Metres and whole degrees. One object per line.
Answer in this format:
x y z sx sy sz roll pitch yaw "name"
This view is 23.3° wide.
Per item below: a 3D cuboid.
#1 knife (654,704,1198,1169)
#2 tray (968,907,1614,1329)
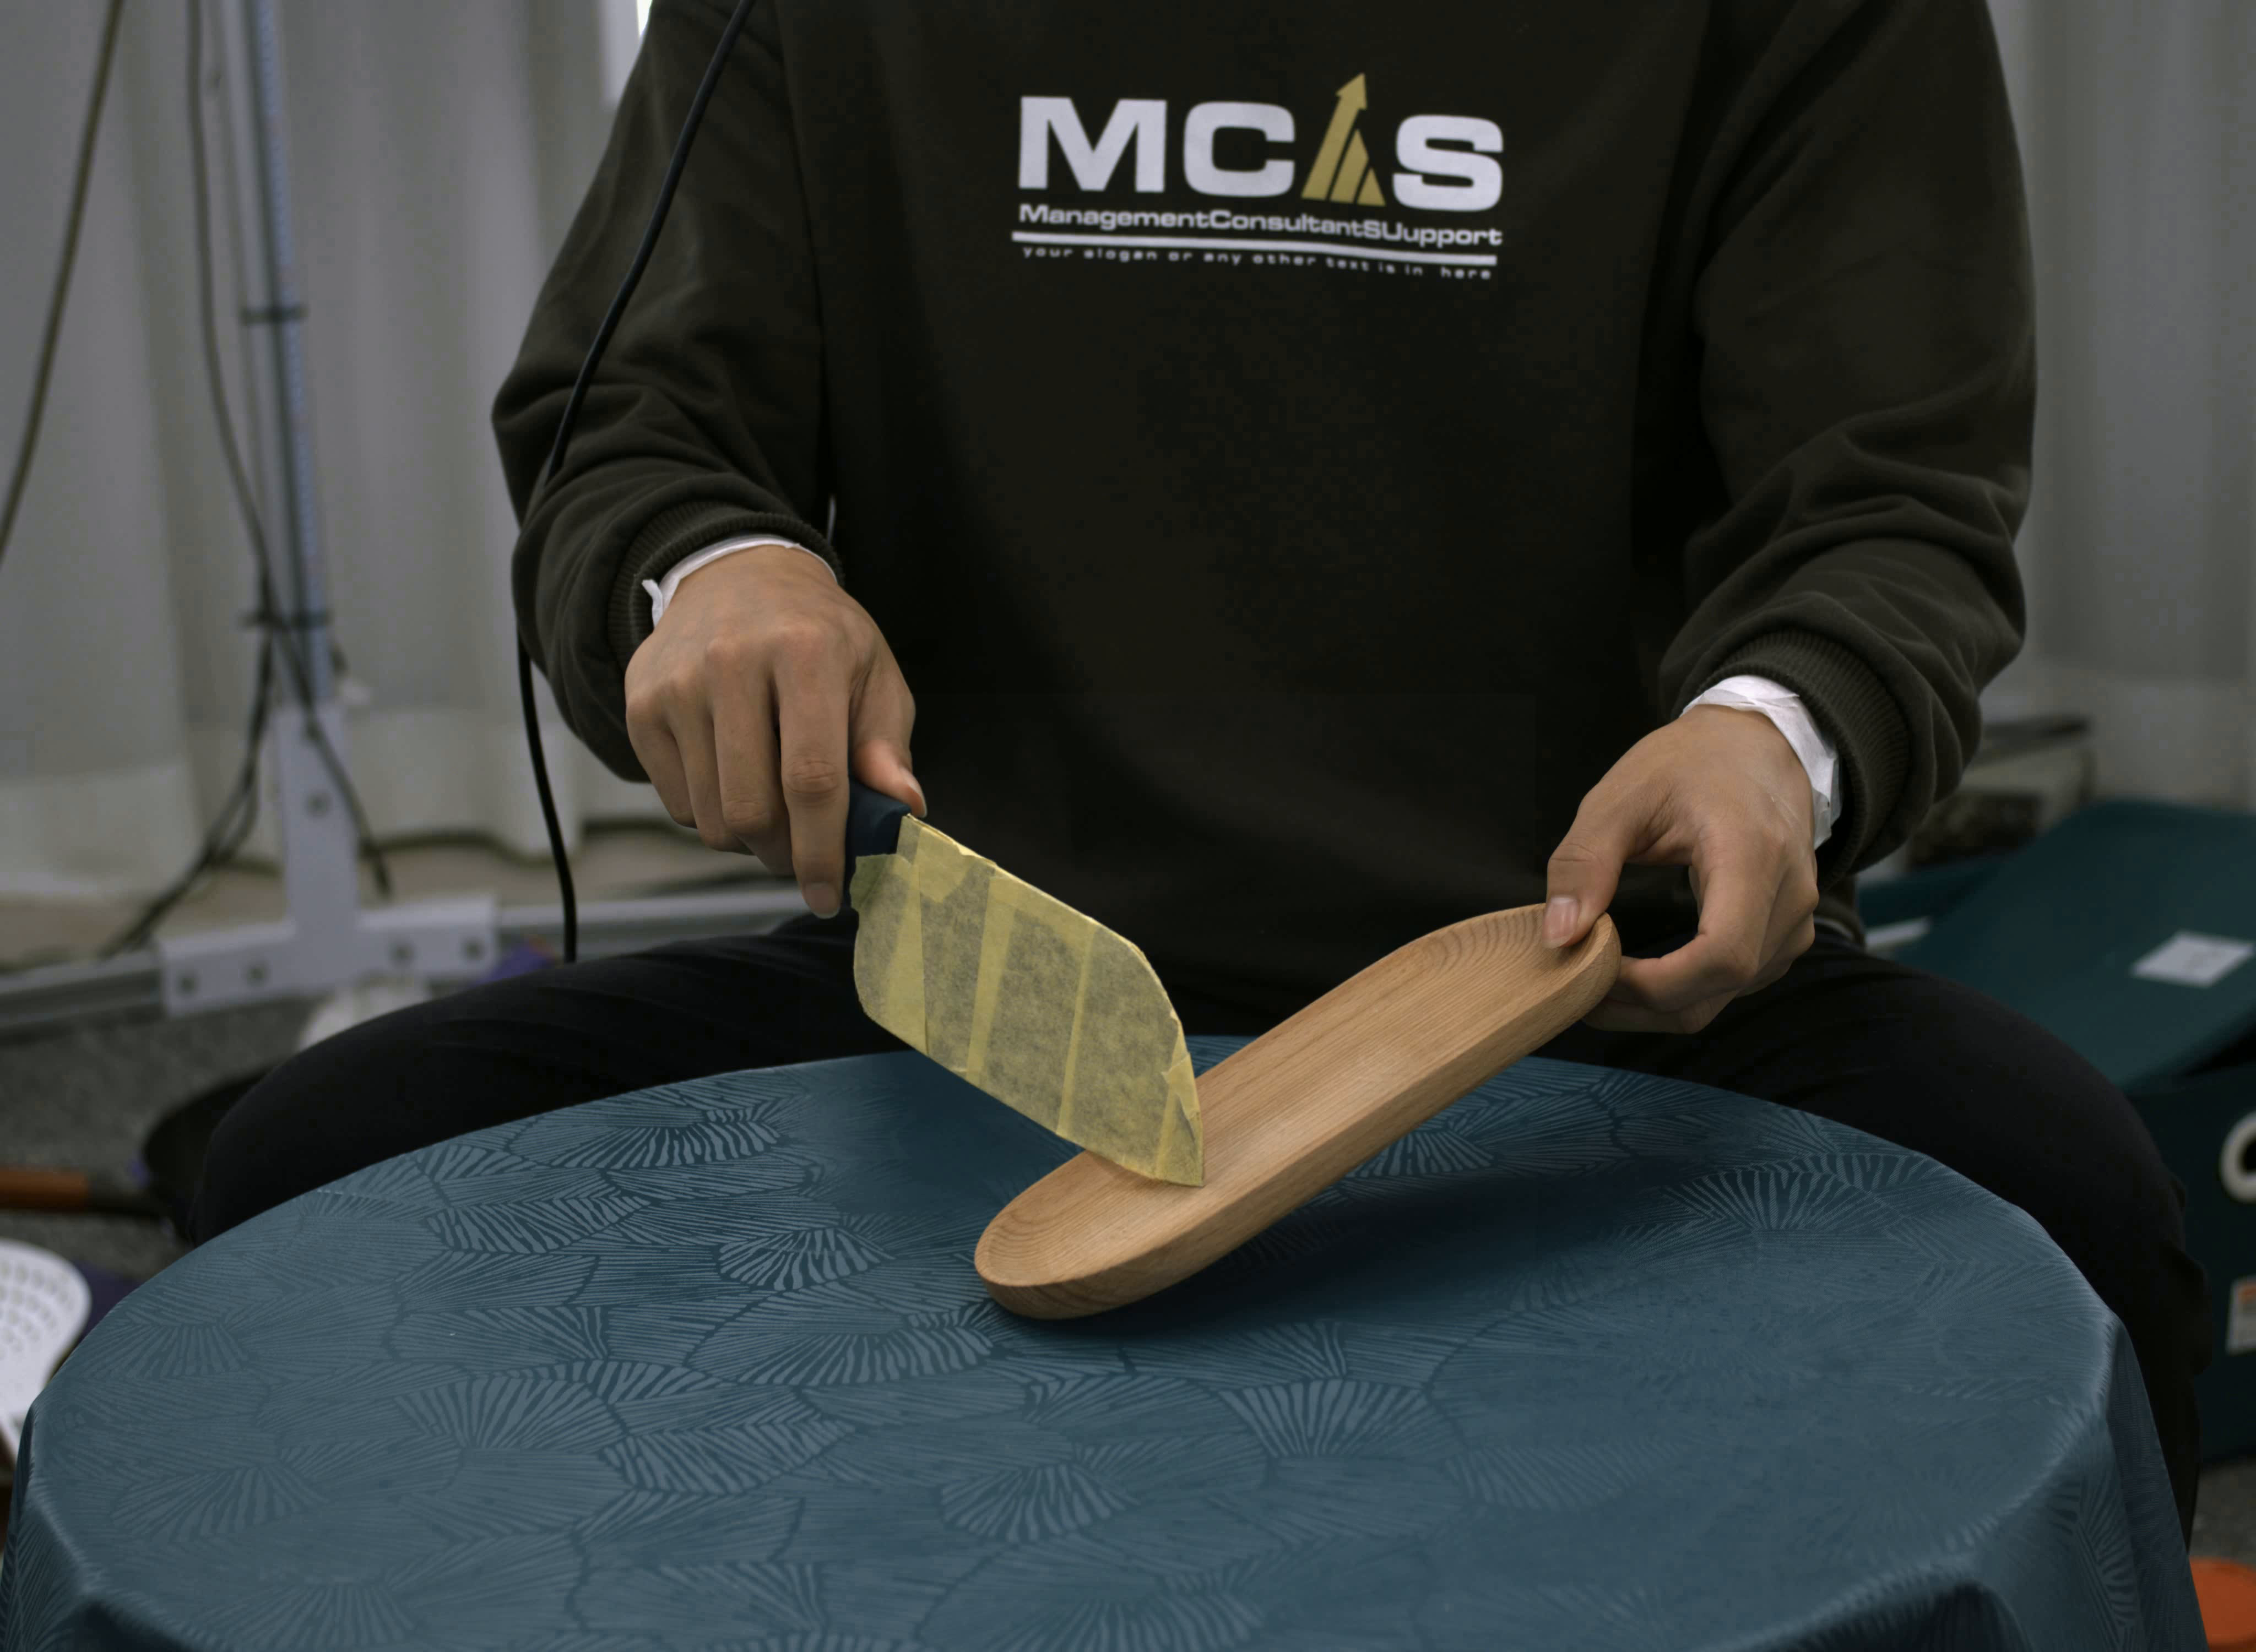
-0.066 0.031 1.724 0.027 0.080 0.292 -4 26 -39 "knife"
0.051 0.087 1.648 0.231 0.020 0.102 -33 17 -24 "tray"
